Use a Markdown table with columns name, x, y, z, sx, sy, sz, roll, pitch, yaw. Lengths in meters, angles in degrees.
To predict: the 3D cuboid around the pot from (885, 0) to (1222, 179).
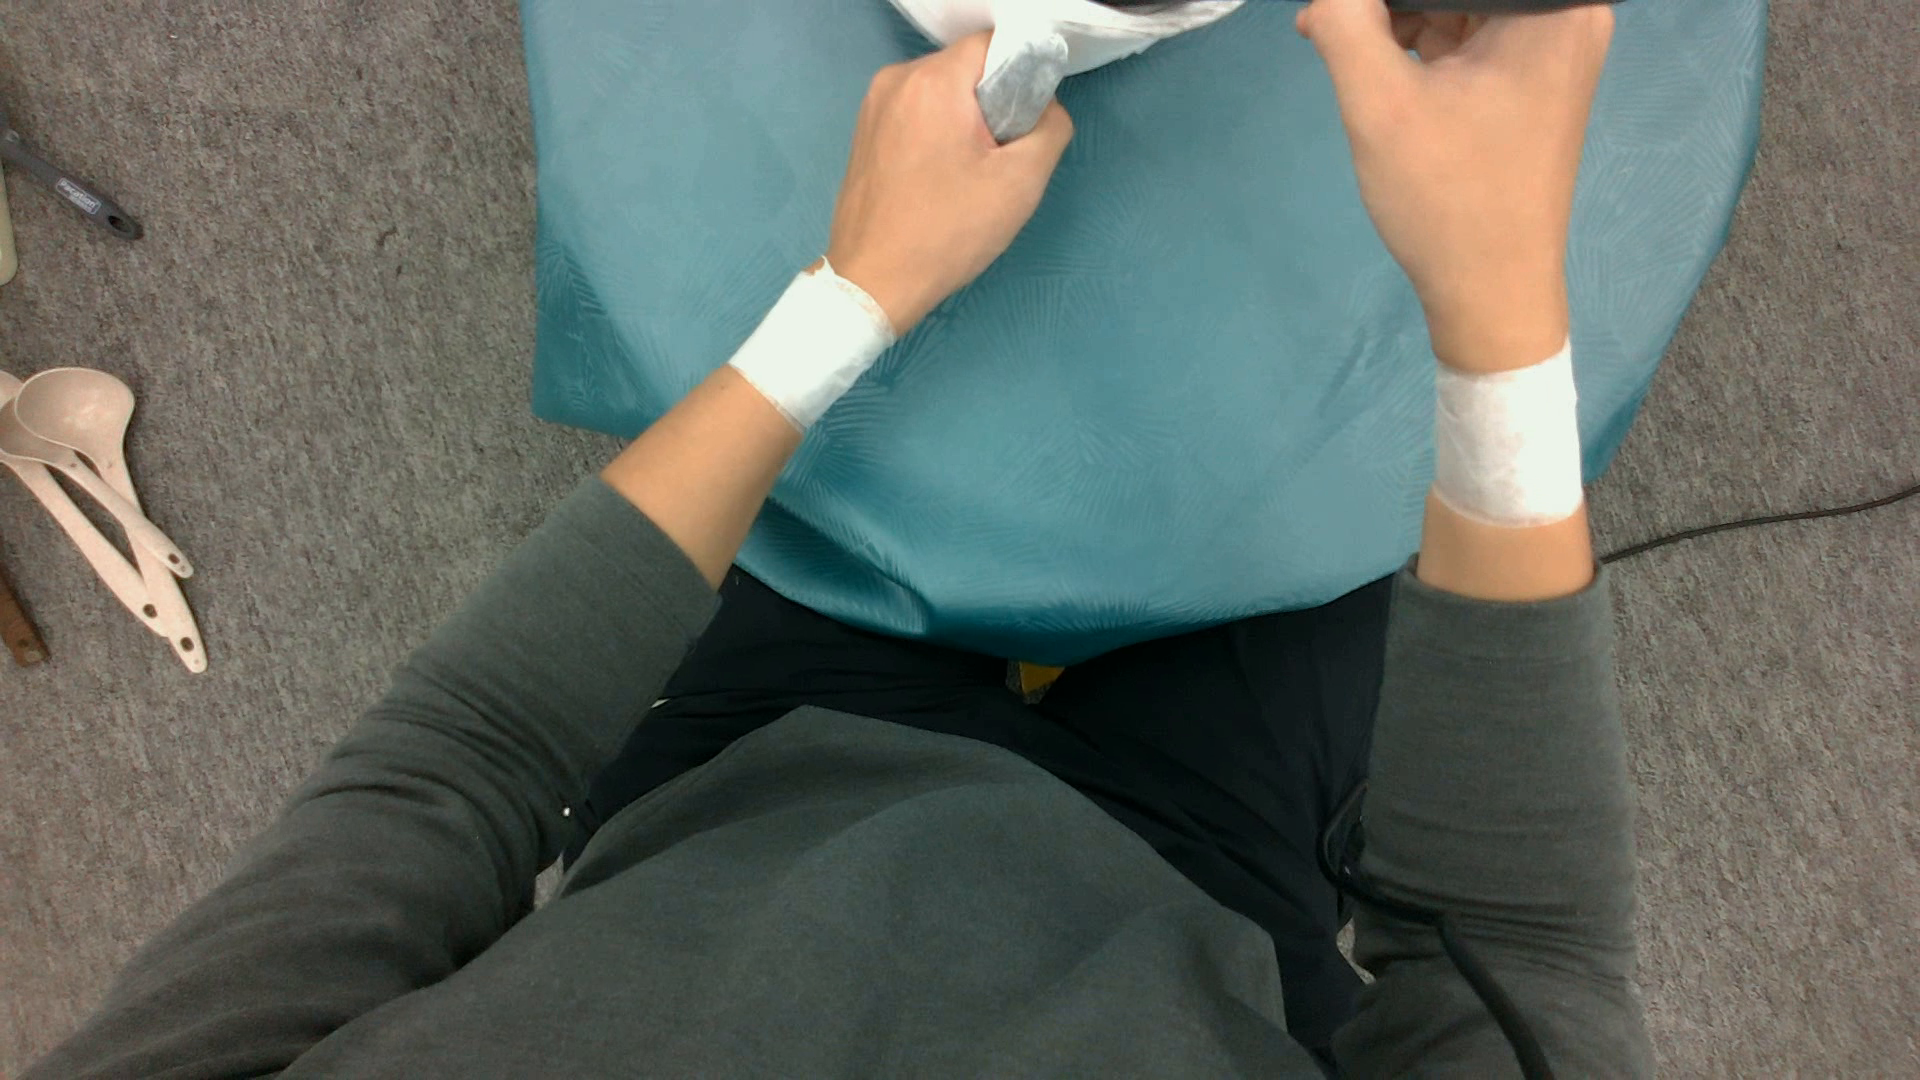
| name | x | y | z | sx | sy | sz | roll | pitch | yaw |
| --- | --- | --- | --- | --- | --- | --- | --- | --- | --- |
| pot | 0.032 | -0.269 | 0.579 | 0.179 | 0.136 | 0.233 | 16 | 94 | -21 |
